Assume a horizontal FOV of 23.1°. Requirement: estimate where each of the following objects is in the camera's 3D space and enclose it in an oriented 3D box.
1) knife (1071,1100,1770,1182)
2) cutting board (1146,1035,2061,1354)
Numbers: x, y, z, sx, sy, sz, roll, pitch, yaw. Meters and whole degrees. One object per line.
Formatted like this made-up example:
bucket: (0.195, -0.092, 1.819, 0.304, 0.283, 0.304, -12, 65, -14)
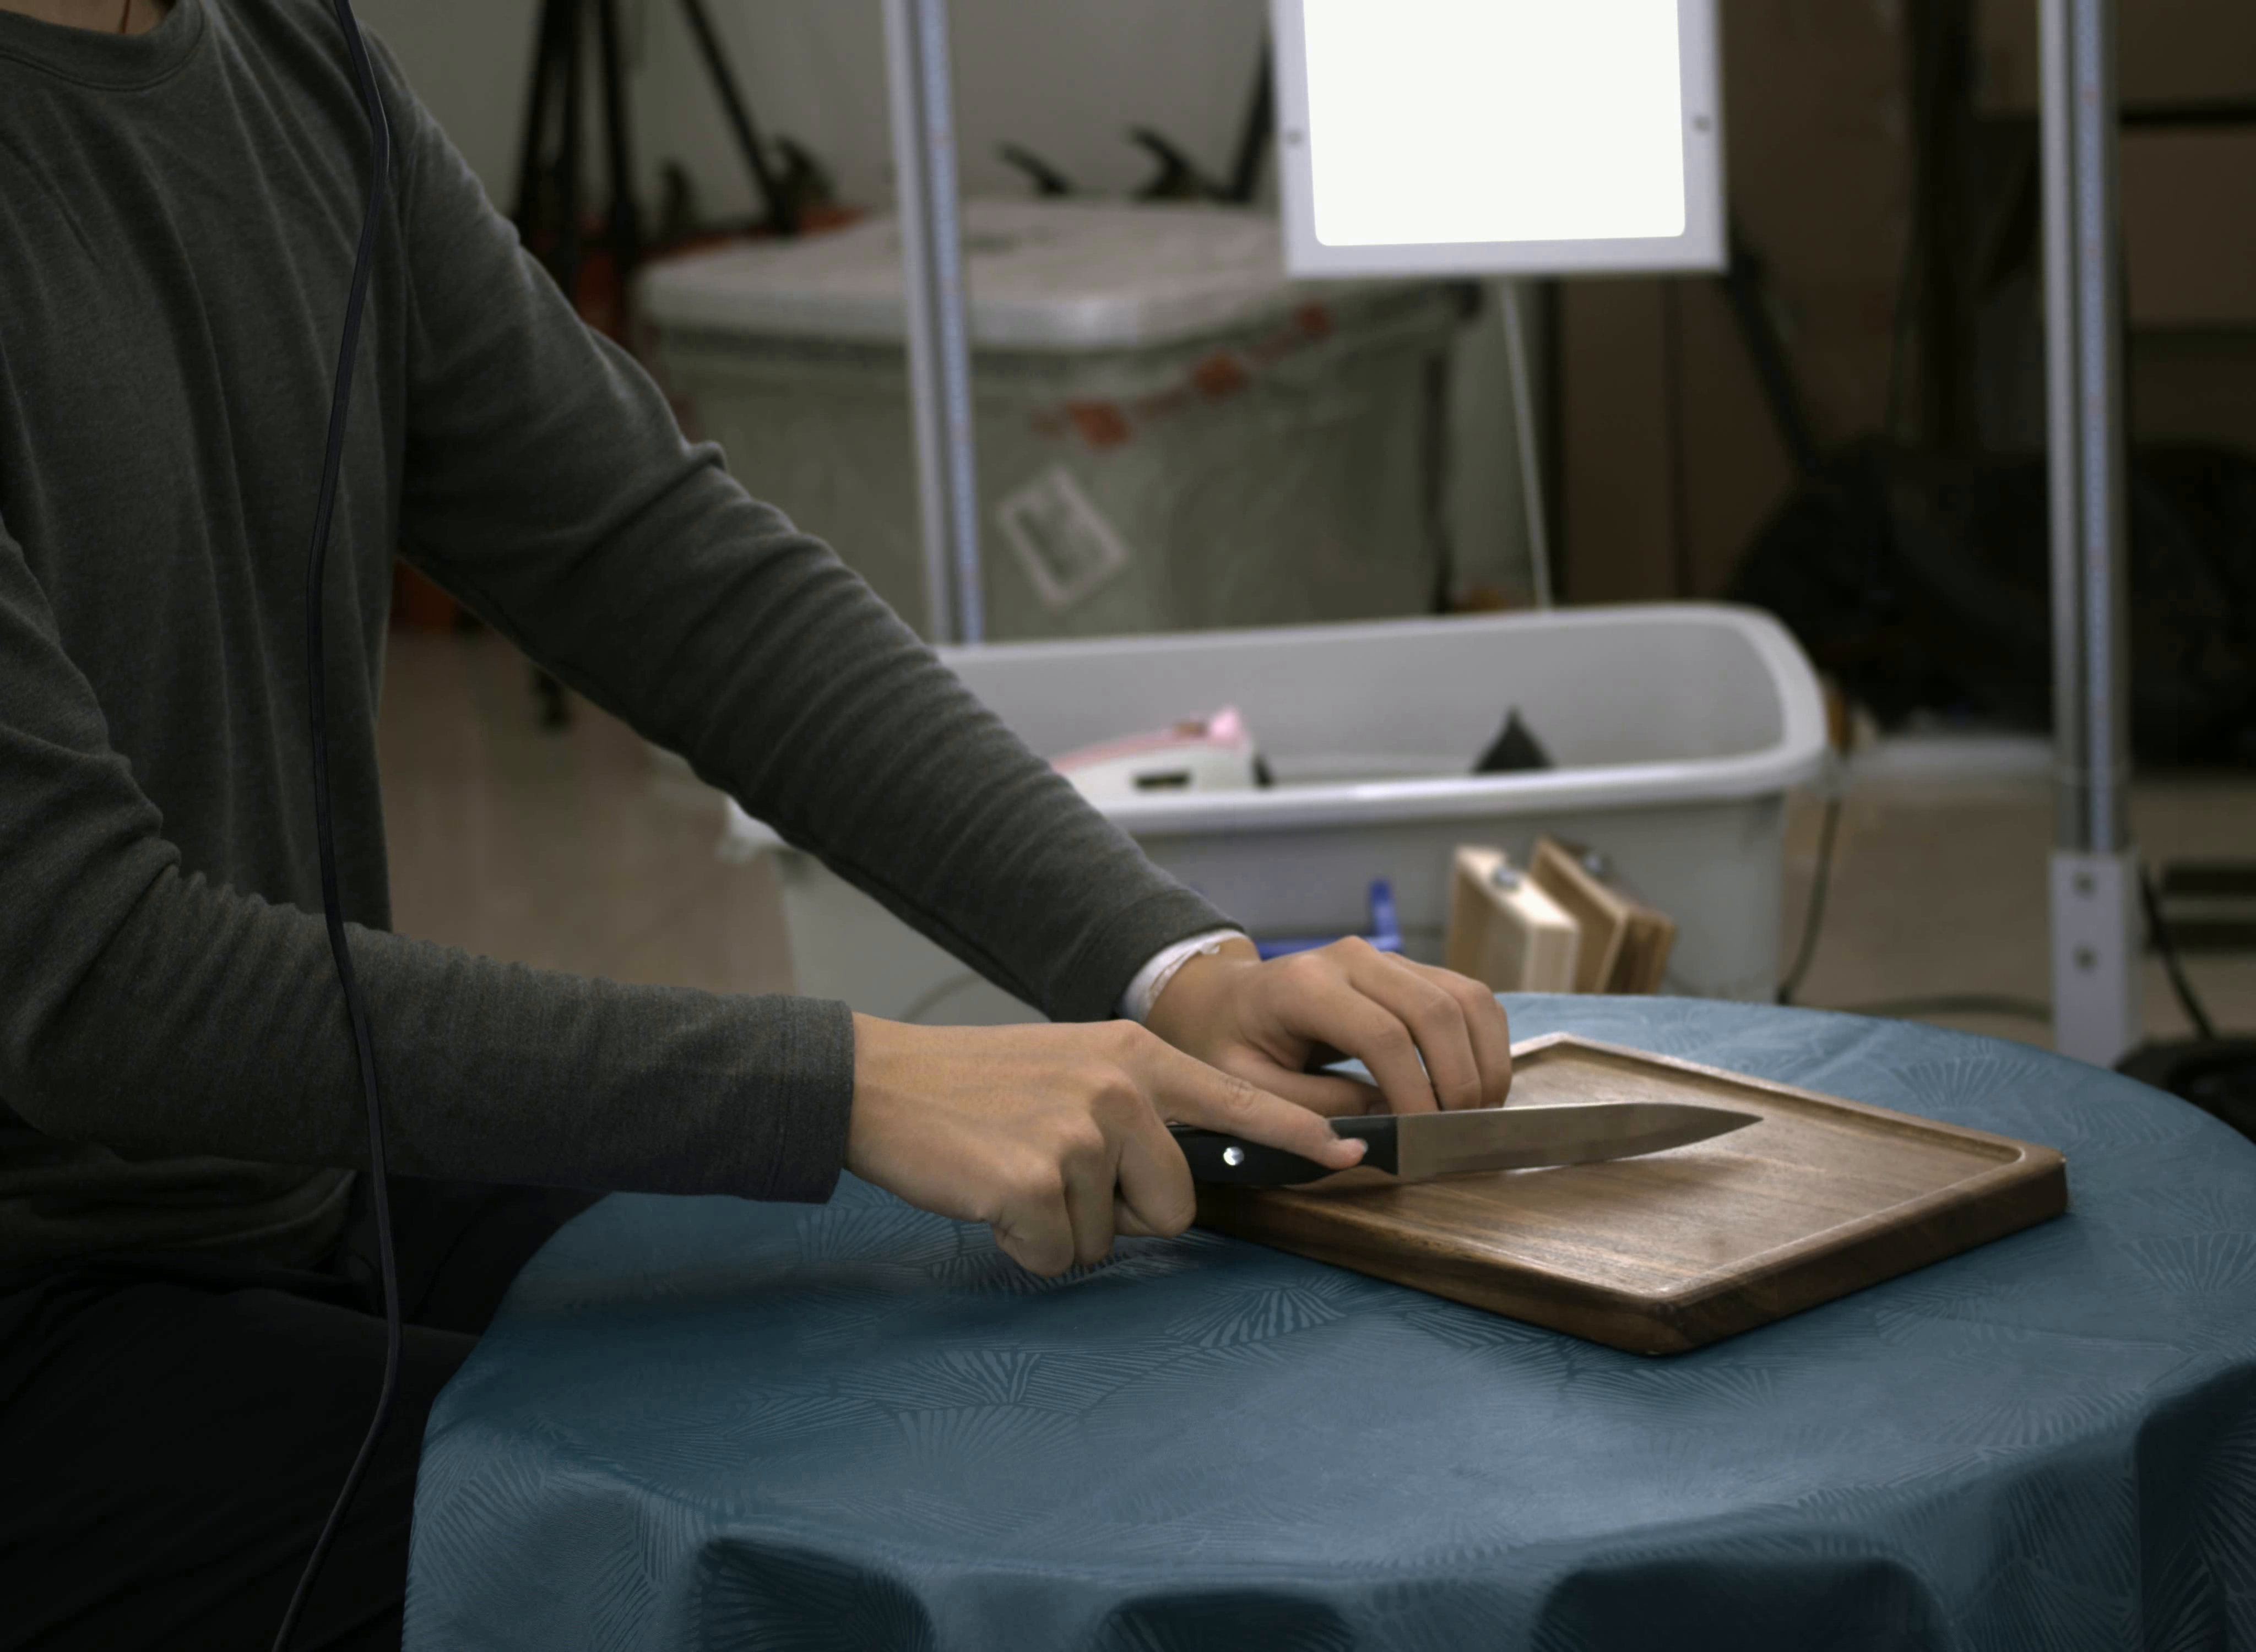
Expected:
knife: (0.099, 0.103, 1.831, 0.236, 0.024, 0.016, -2, 9, -5)
cutting board: (0.128, 0.112, 1.873, 0.196, 0.023, 0.359, -15, 16, -36)
